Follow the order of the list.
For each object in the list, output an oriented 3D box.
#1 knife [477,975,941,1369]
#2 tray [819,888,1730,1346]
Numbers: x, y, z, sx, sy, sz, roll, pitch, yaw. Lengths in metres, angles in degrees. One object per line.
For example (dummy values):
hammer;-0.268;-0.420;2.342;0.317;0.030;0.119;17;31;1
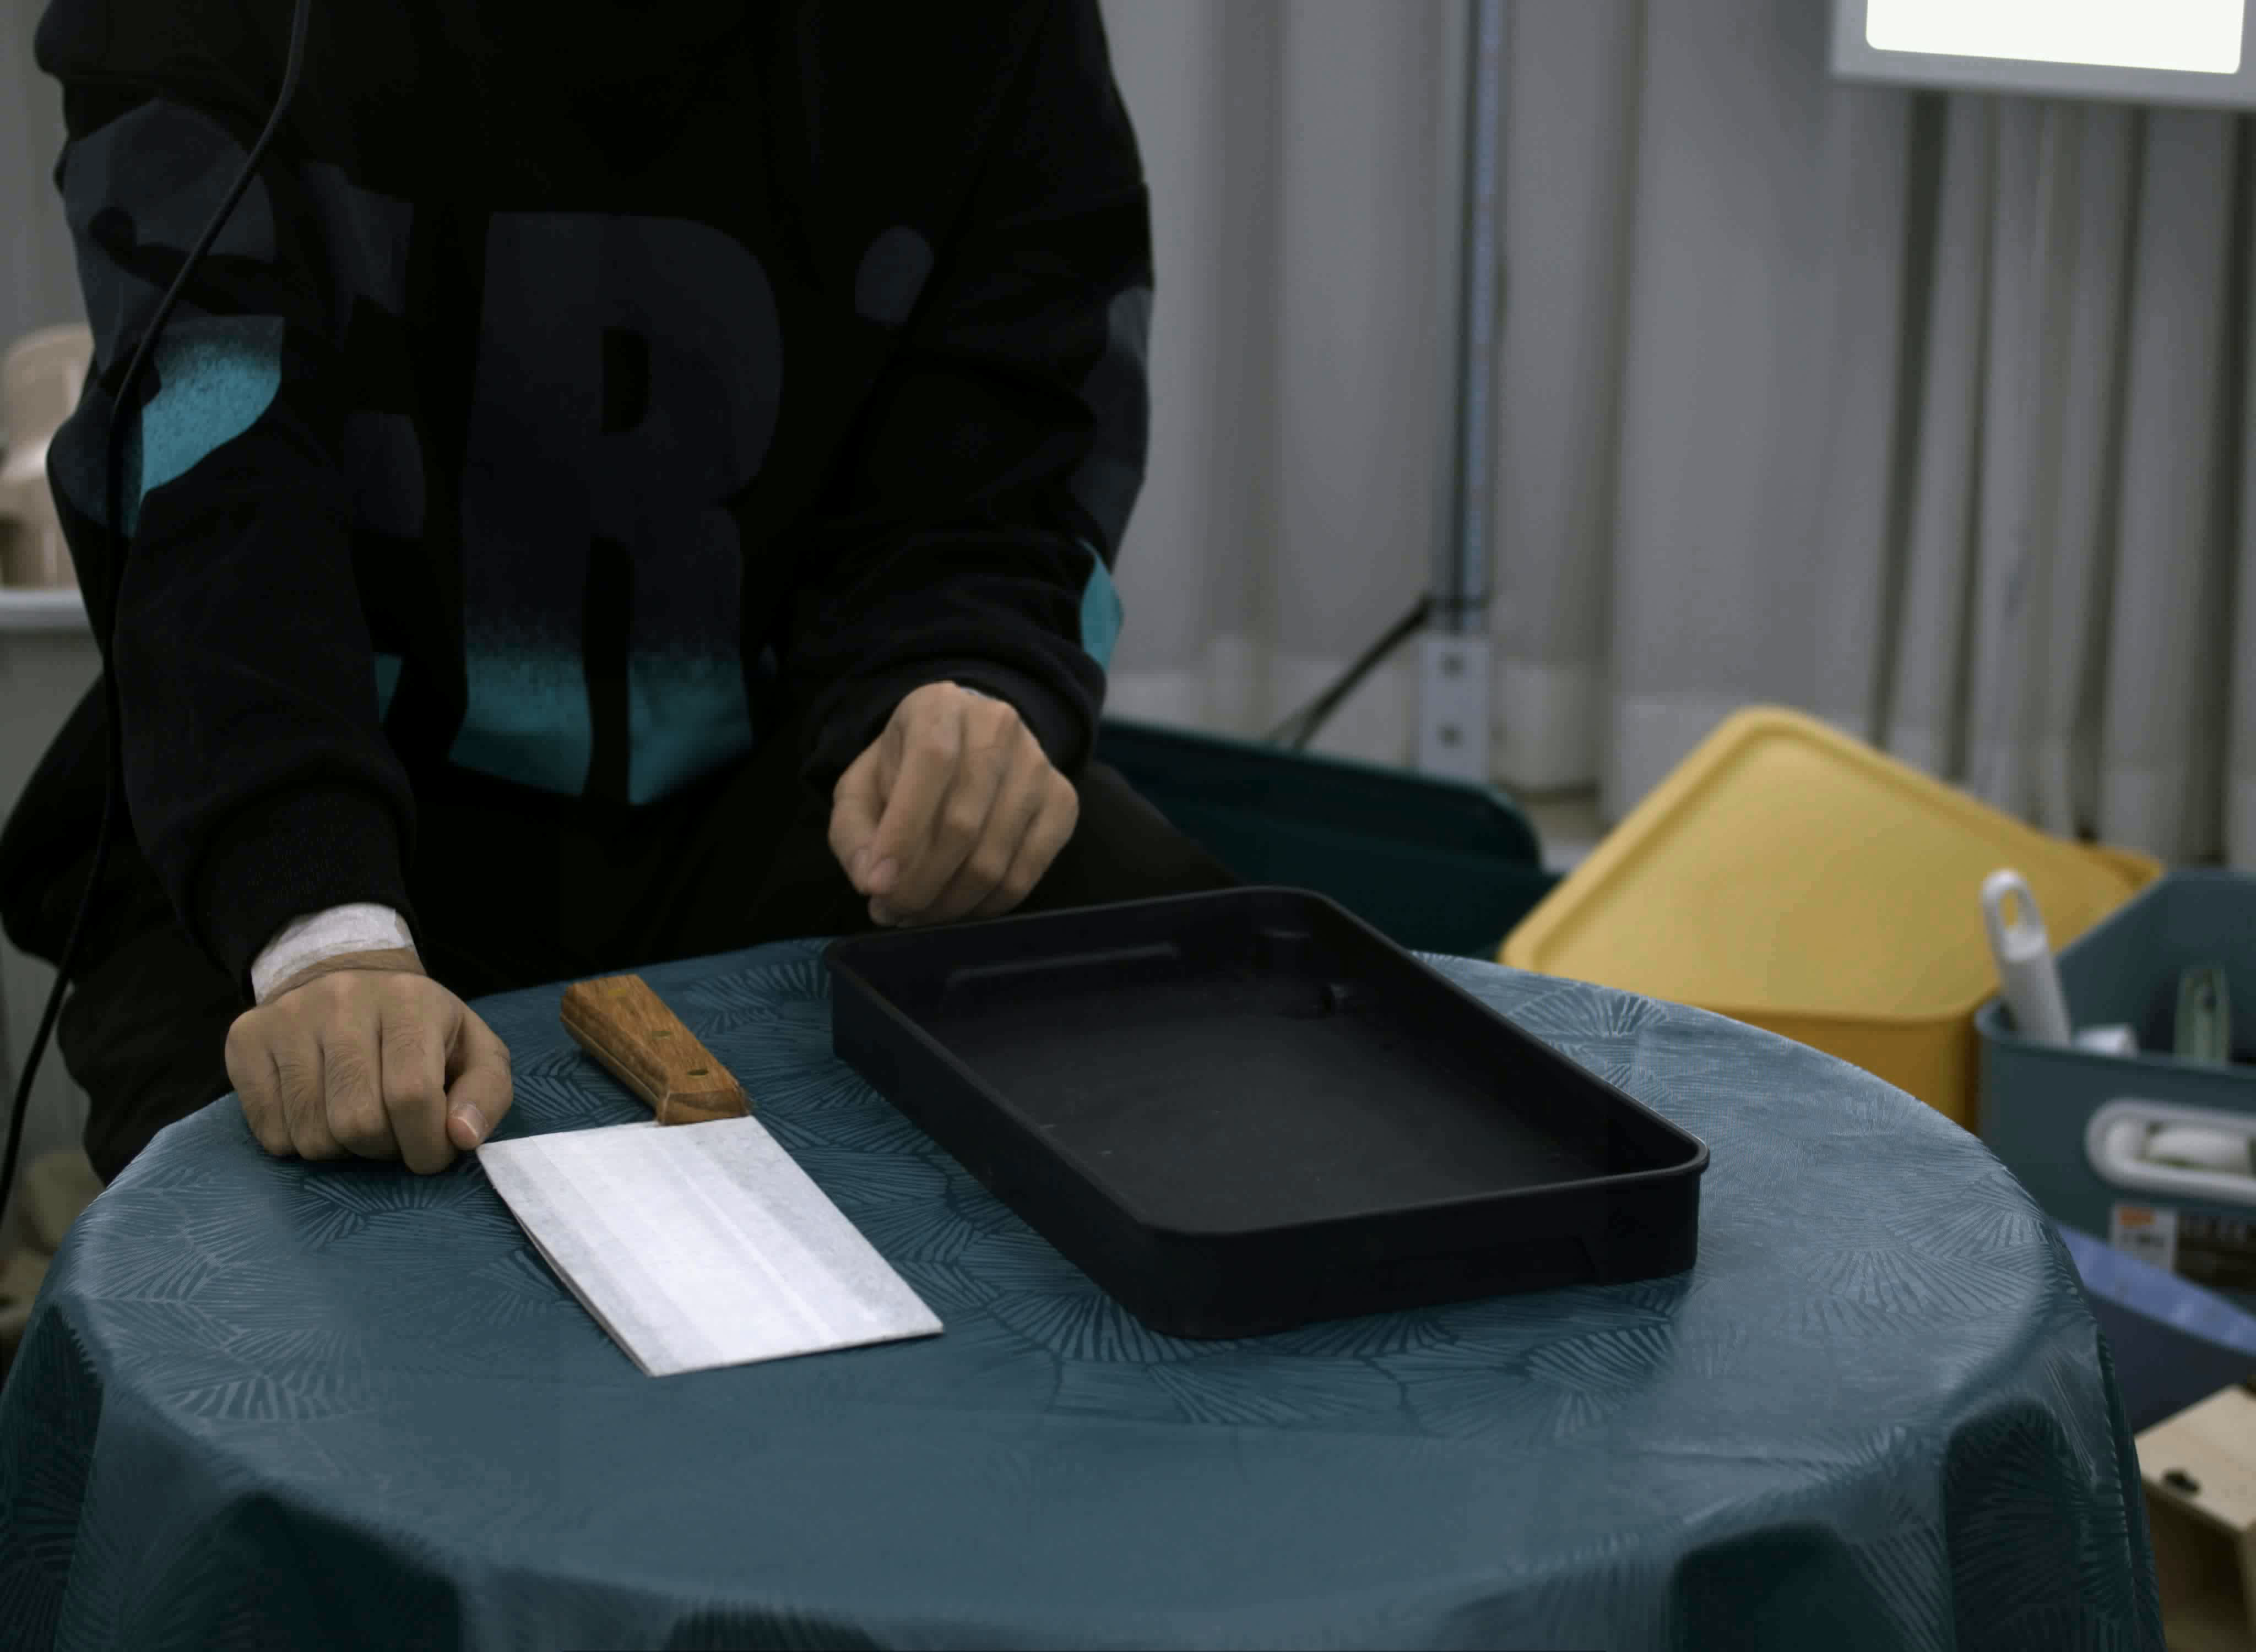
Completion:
knife;-0.147;0.105;1.617;0.093;0.021;0.302;-7;20;-20
tray;0.038;0.085;1.653;0.185;0.037;0.314;-7;17;-23
